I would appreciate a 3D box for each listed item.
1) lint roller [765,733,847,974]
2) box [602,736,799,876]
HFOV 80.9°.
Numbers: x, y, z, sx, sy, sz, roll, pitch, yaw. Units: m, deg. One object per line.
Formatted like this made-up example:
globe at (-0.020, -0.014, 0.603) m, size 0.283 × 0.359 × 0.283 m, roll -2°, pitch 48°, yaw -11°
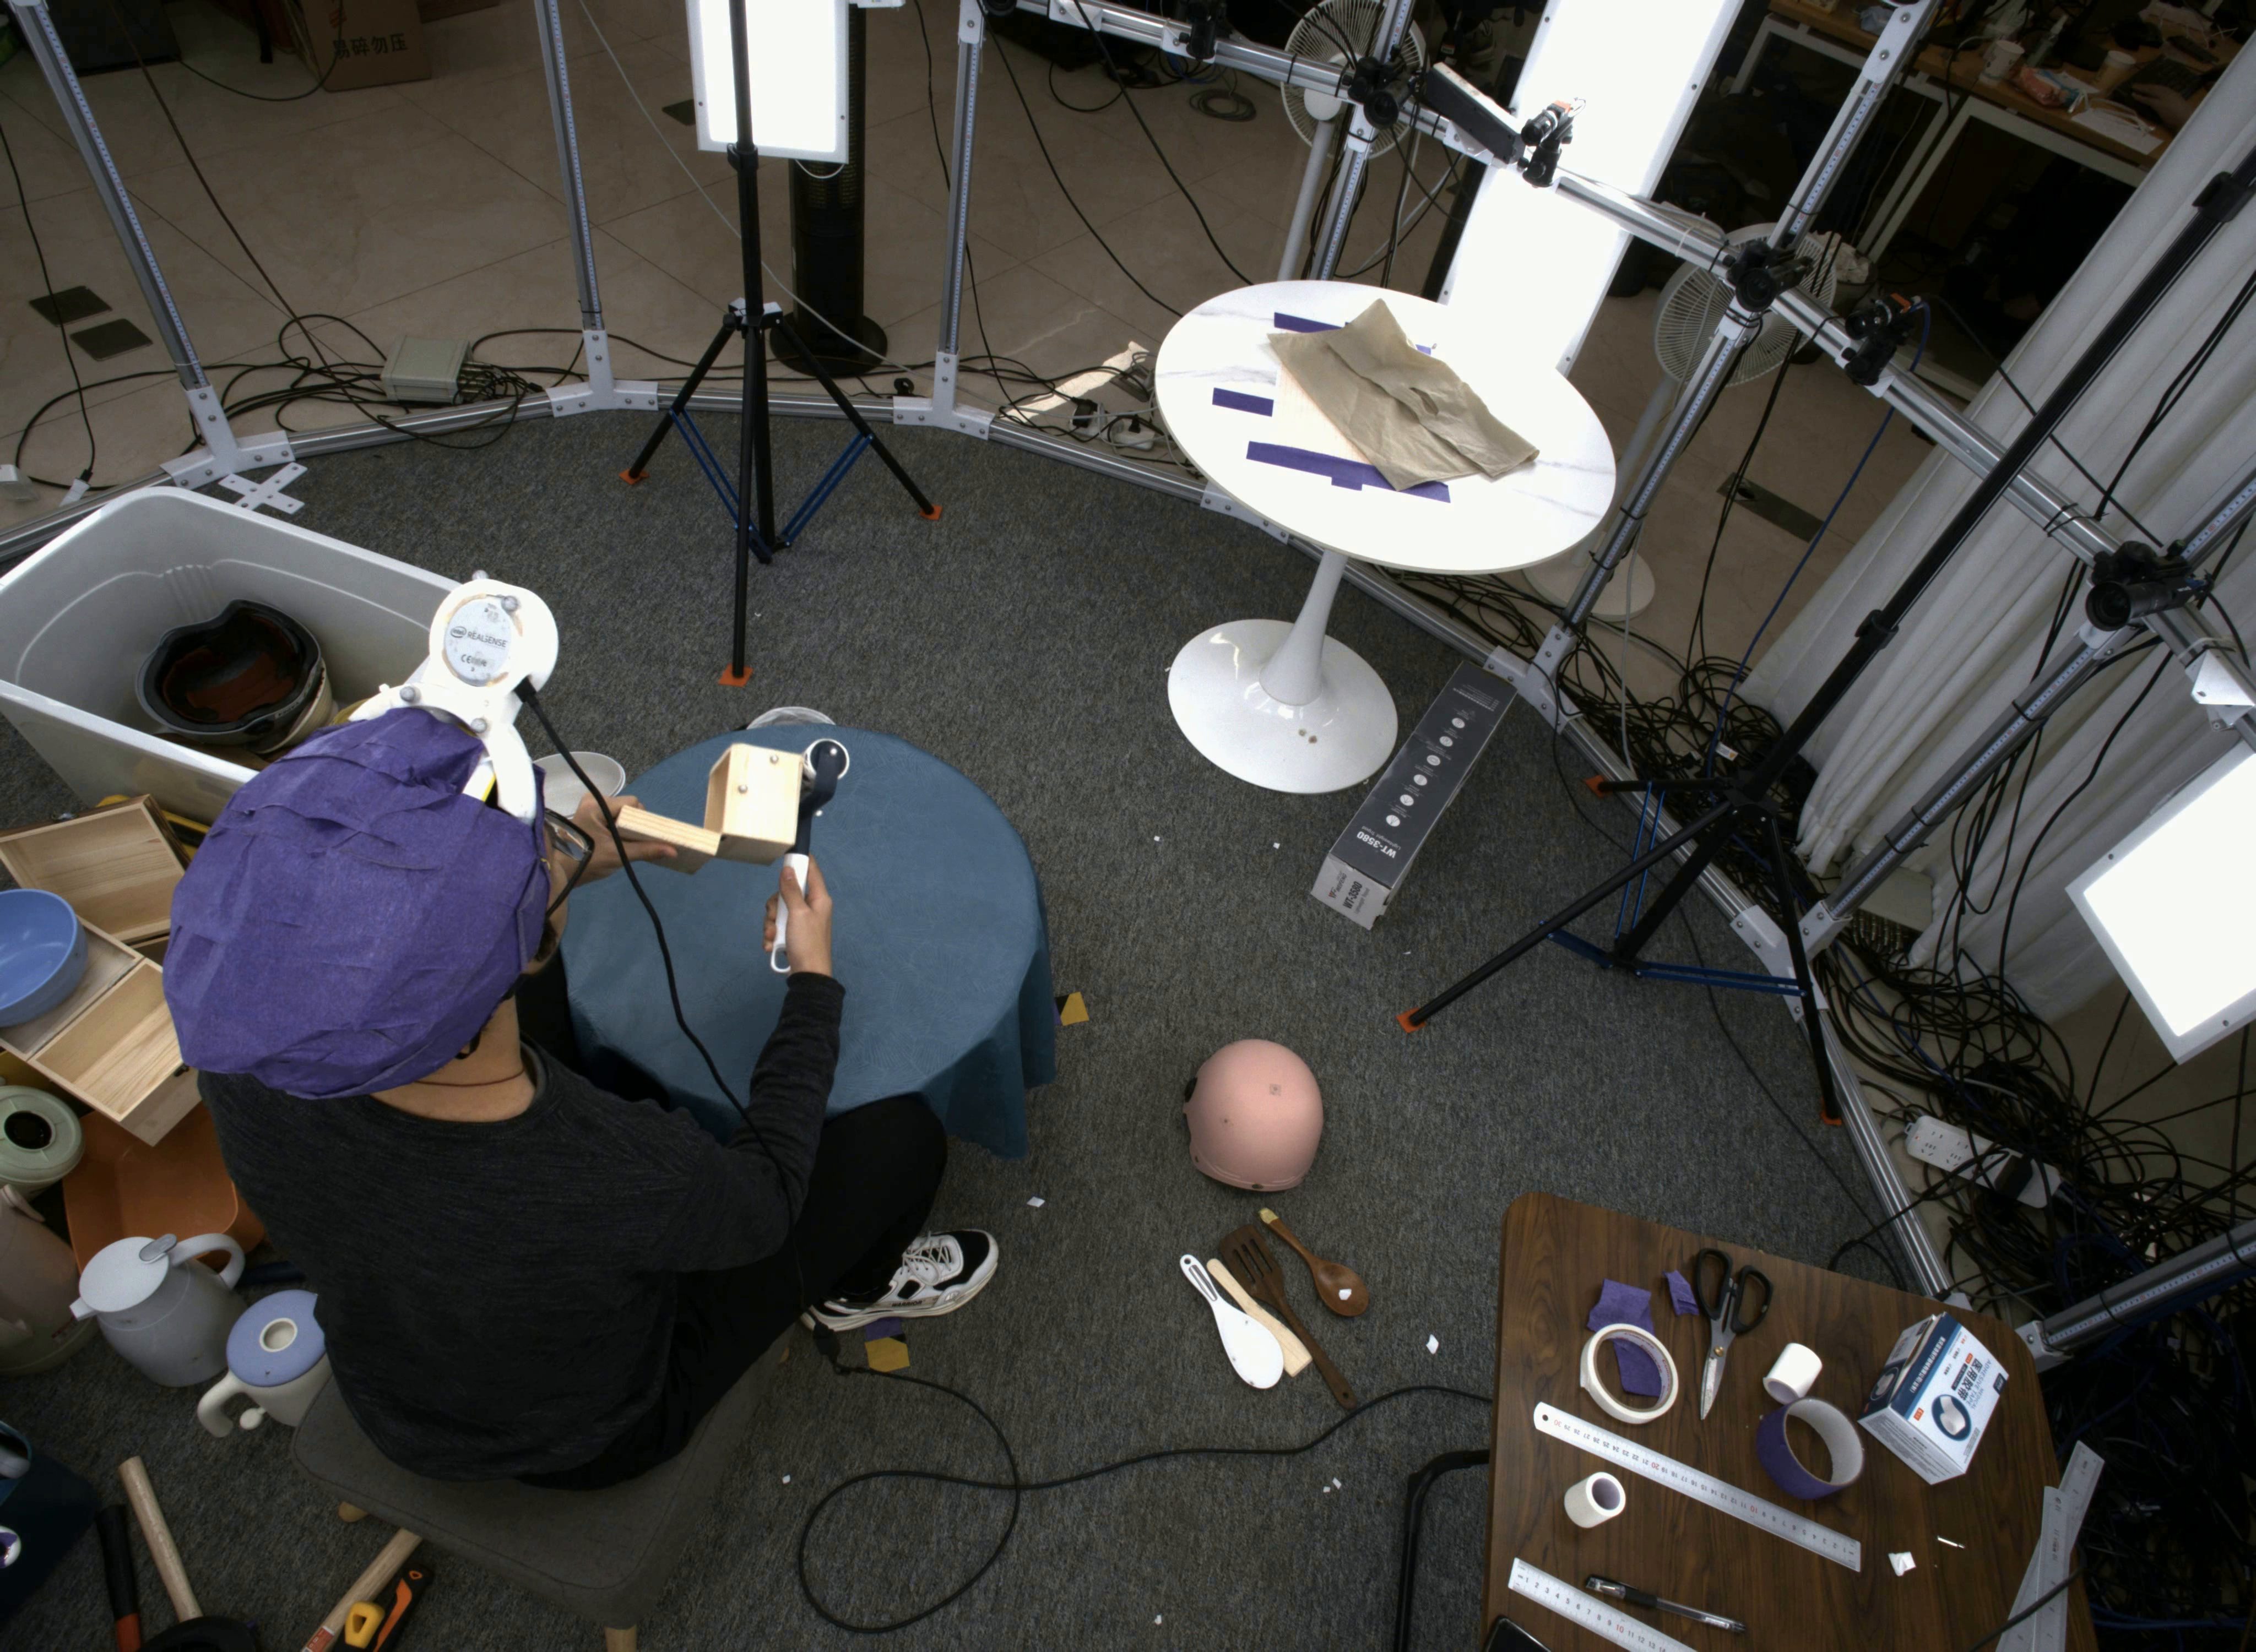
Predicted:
lint roller at (-0.365, 0.037, 1.423) m, size 0.051 × 0.173 × 0.247 m, roll 9°, pitch 76°, yaw -29°
box at (-0.453, -0.026, 1.358) m, size 0.188 × 0.101 × 0.133 m, roll 10°, pitch 70°, yaw -29°
